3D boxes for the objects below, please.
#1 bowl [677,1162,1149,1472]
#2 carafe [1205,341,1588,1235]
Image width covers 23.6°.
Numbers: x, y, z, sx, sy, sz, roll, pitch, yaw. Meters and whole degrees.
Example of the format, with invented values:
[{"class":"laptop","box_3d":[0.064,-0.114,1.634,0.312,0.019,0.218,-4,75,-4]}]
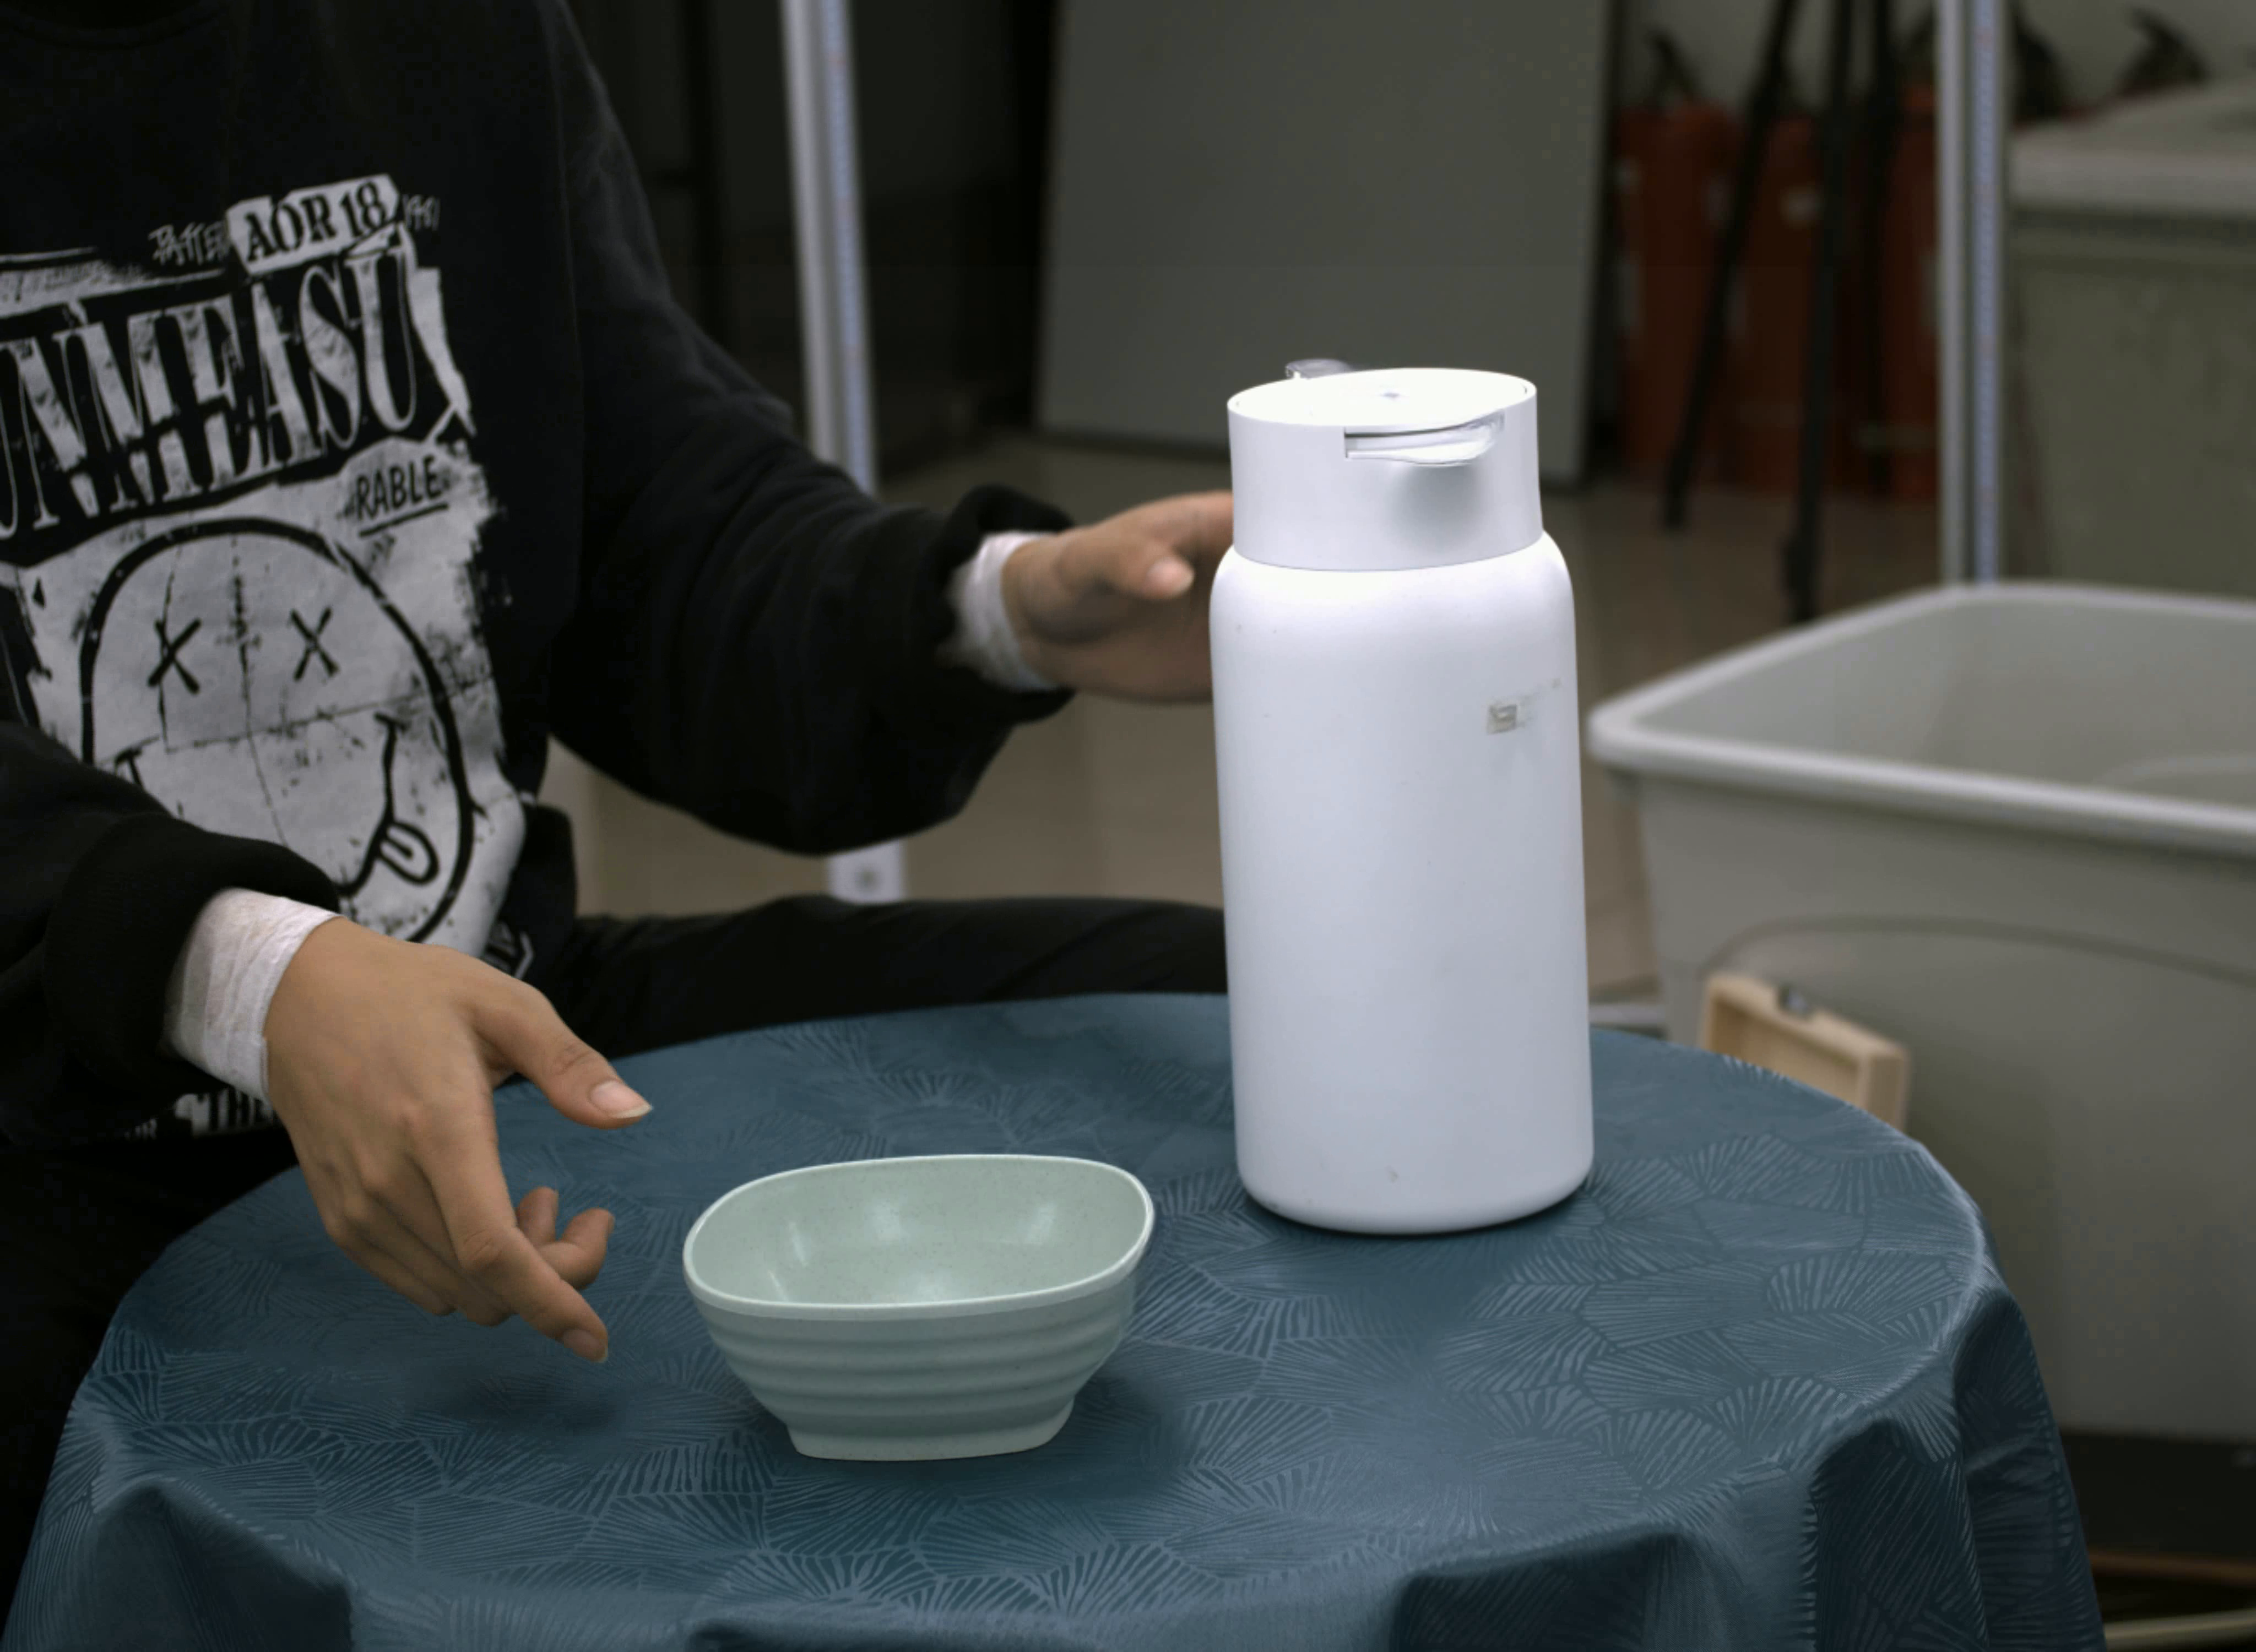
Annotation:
[{"class":"bowl","box_3d":[-0.061,0.147,1.580,0.149,0.059,0.152,-4,13,0]},{"class":"carafe","box_3d":[0.079,-0.016,1.742,0.121,0.272,0.174,-10,15,-15]}]
